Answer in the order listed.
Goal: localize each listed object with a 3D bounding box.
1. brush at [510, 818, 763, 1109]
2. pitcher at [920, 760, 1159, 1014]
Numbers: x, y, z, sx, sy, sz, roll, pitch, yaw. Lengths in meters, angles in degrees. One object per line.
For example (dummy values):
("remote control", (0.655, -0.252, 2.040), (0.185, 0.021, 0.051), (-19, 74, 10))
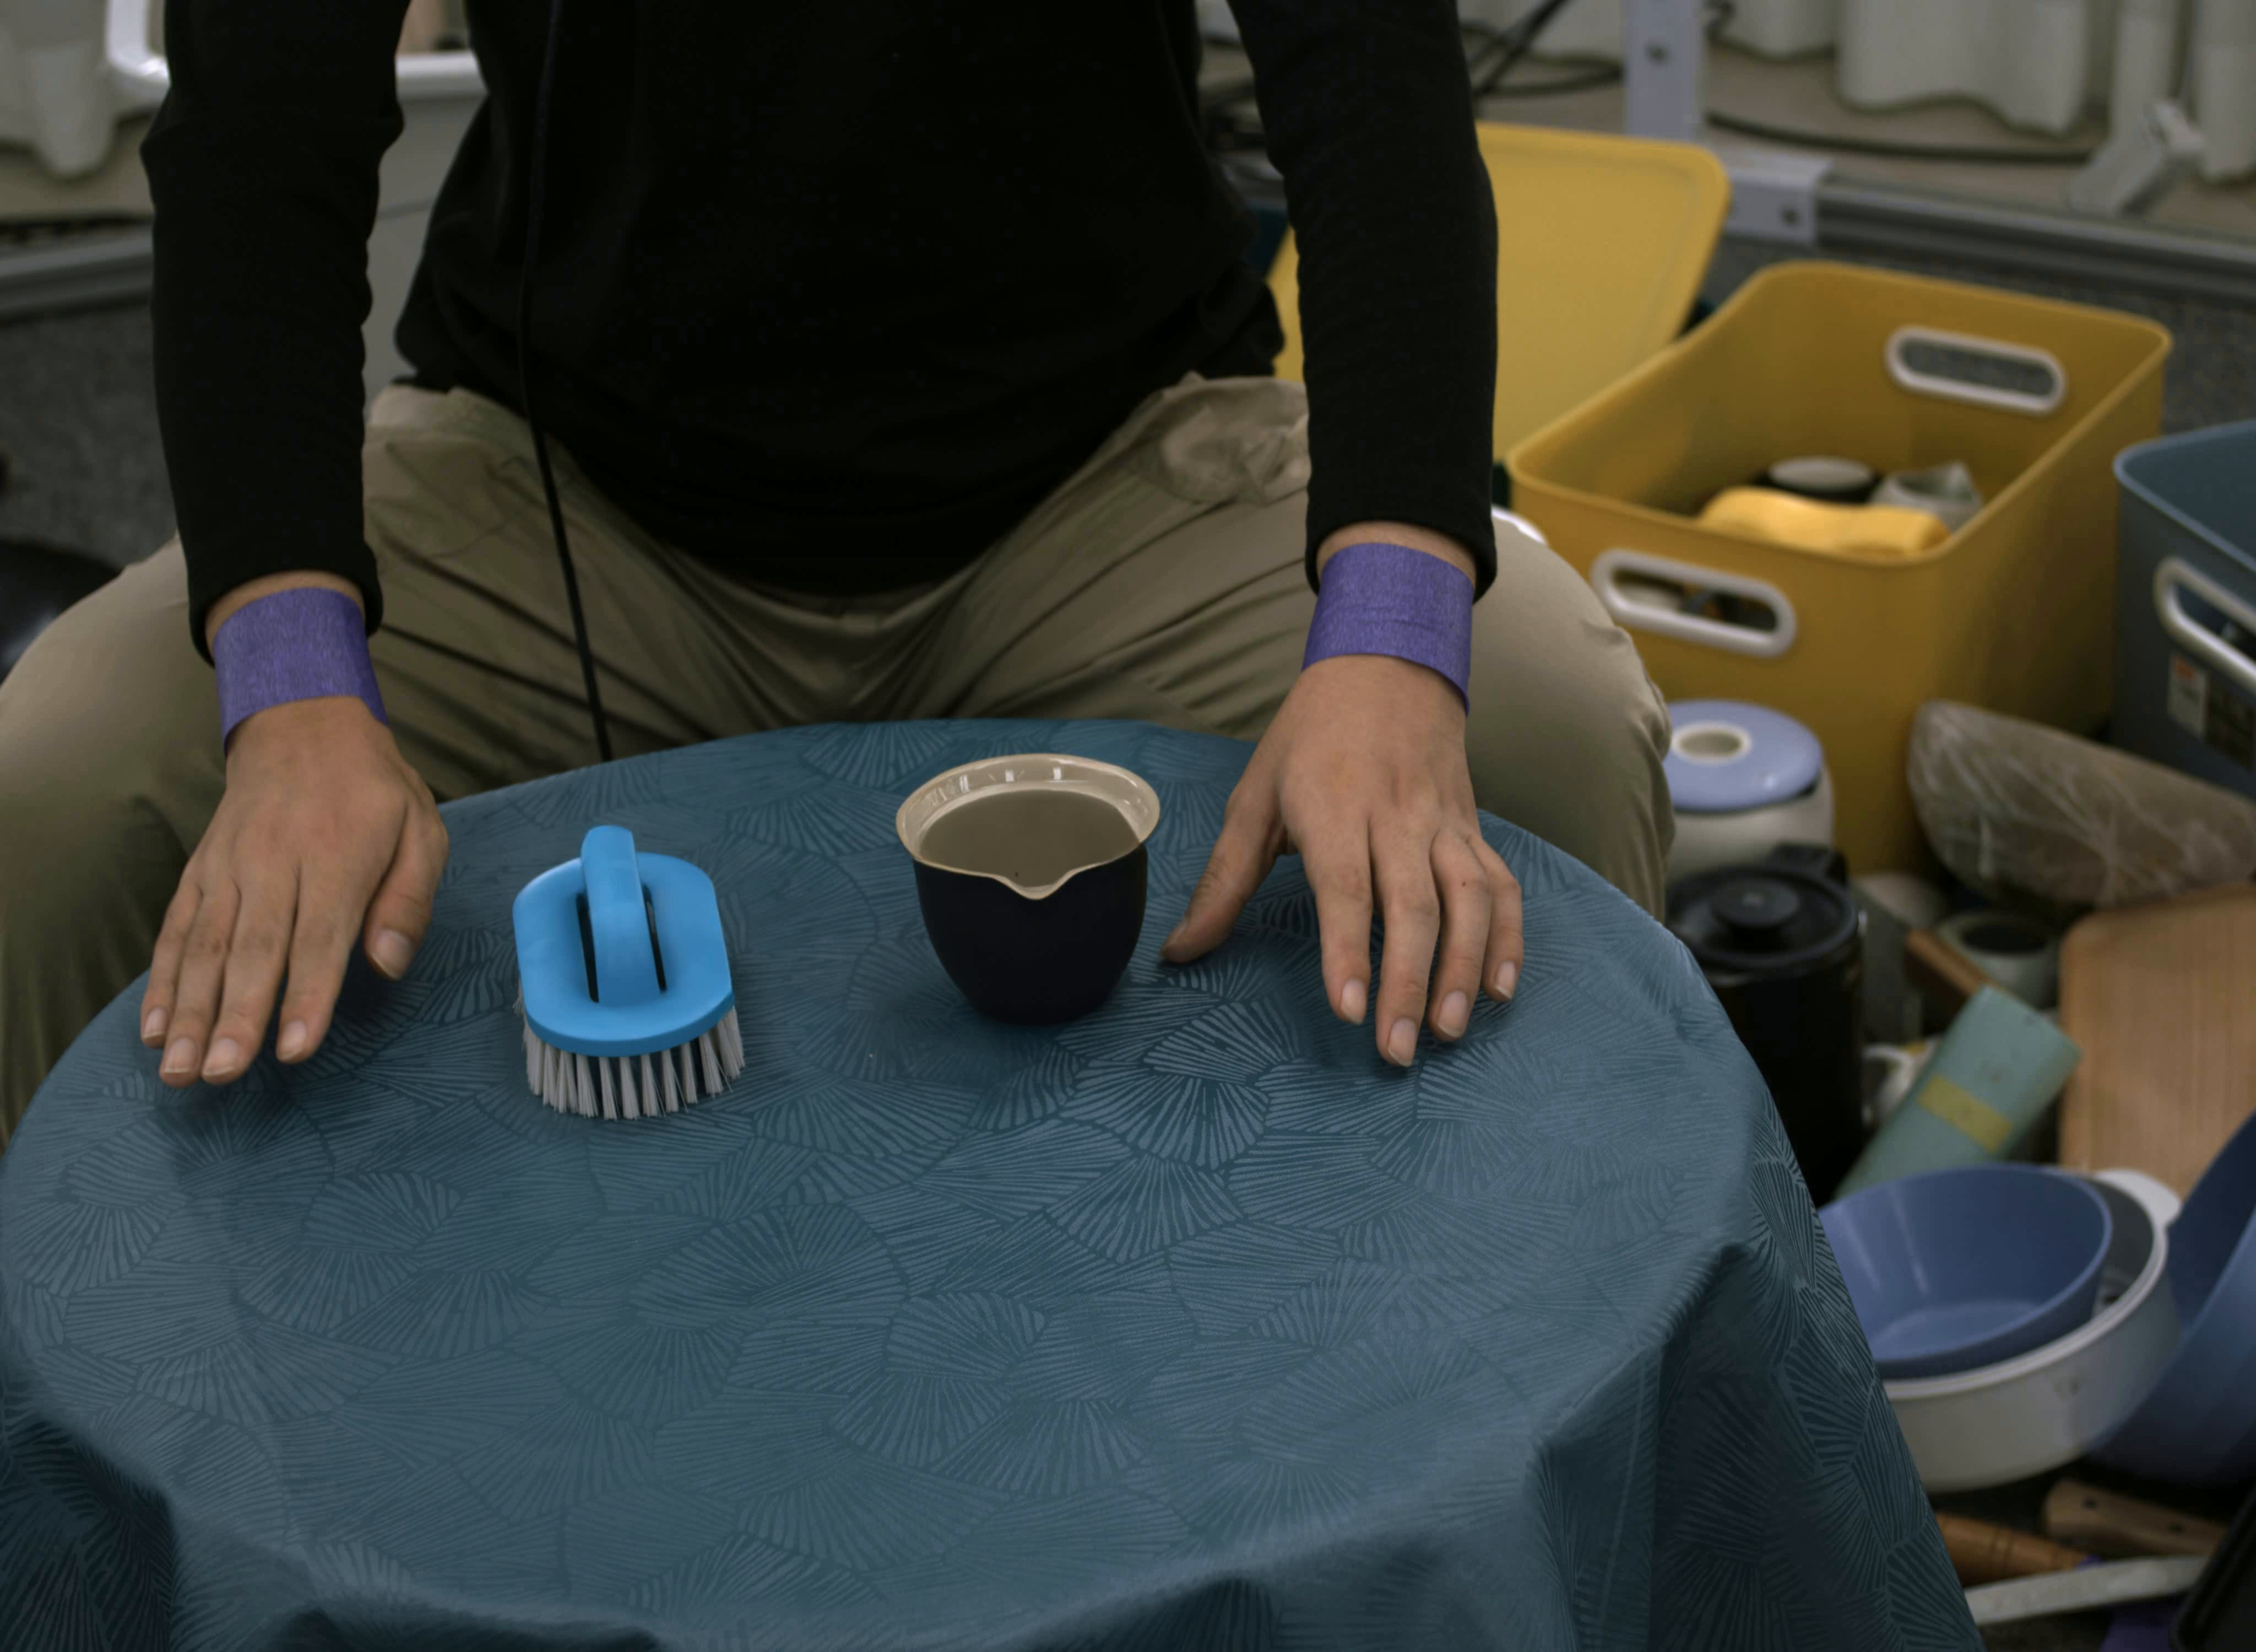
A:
("brush", (-0.176, 0.040, 1.966), (0.084, 0.063, 0.143), (-10, 27, -4))
("pitcher", (-0.030, 0.026, 1.969), (0.083, 0.070, 0.097), (-1, 29, 2))
